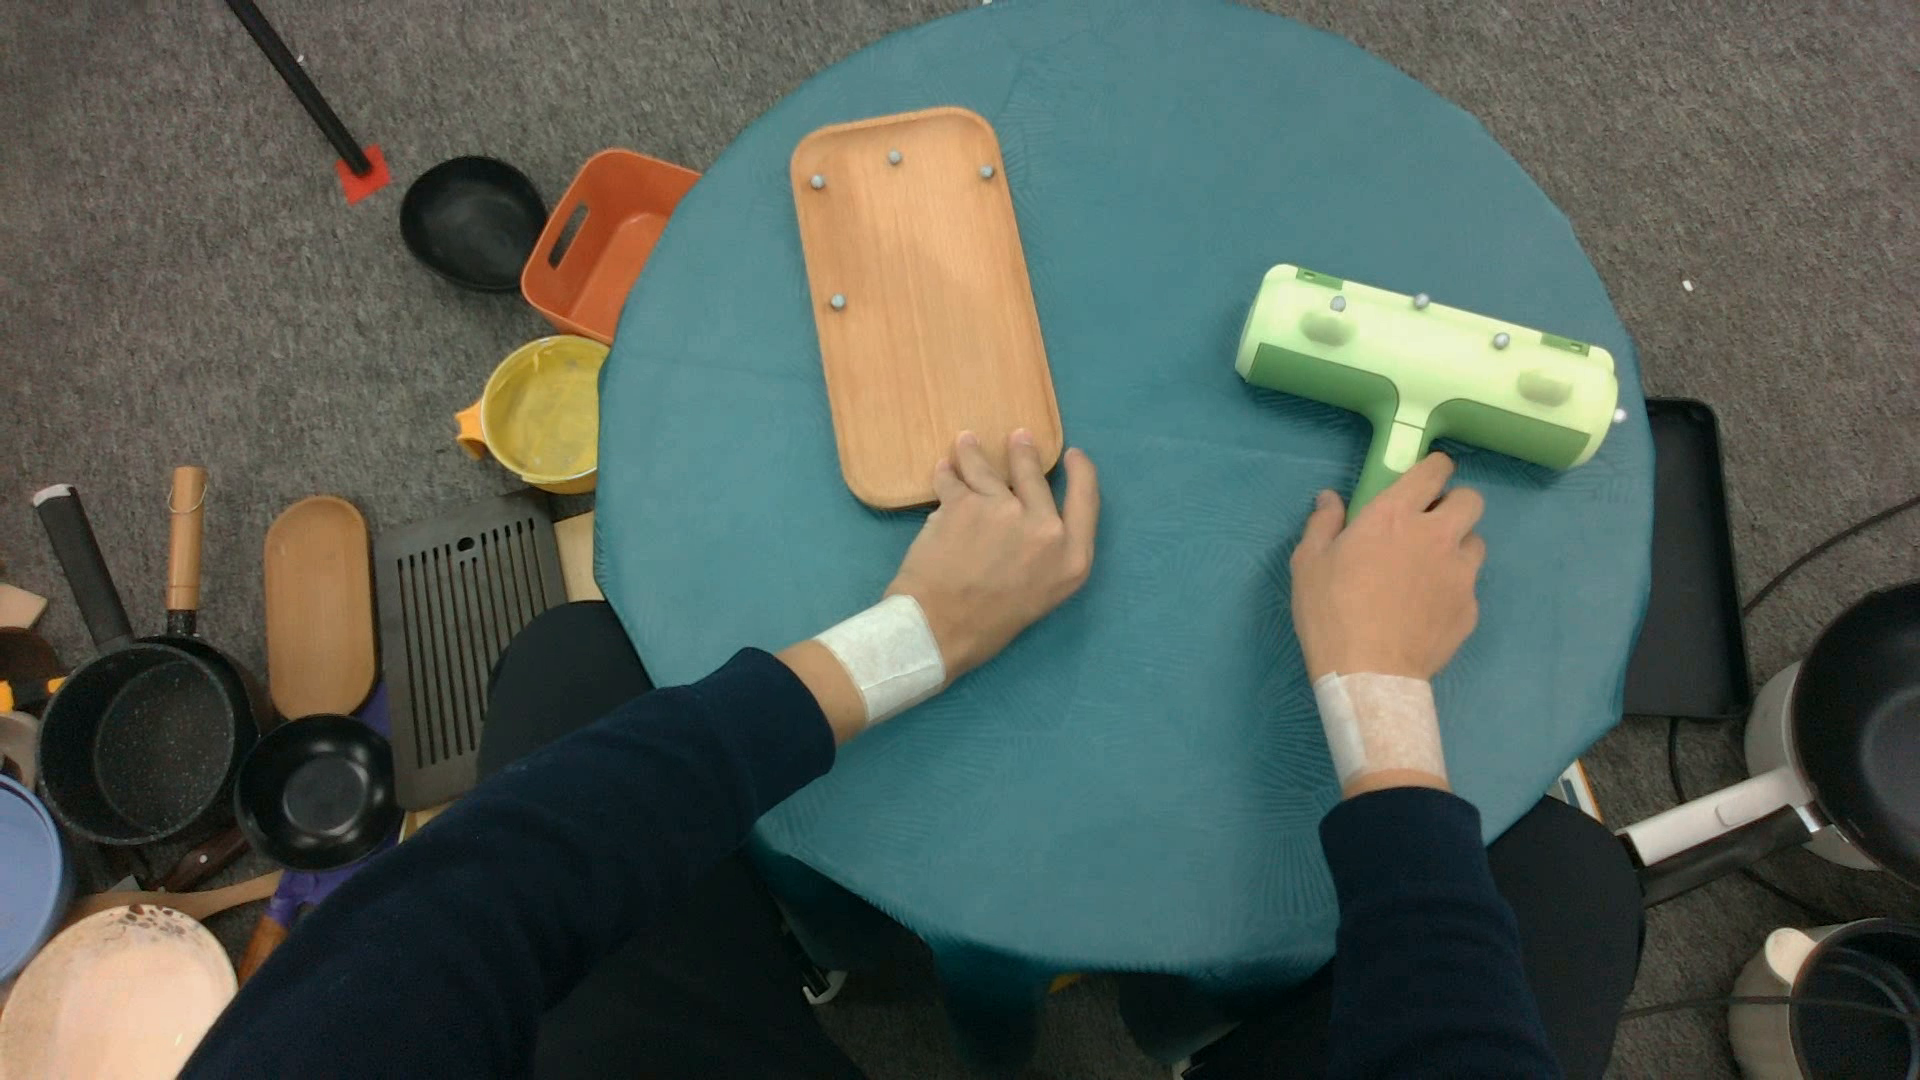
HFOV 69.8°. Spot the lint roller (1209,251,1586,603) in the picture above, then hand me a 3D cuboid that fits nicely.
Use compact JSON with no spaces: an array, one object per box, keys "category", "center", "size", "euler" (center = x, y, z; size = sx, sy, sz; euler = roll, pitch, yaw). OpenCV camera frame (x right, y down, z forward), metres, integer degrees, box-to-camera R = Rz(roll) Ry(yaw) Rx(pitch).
[{"category":"lint roller","center":[0.225,-0.060,0.735],"size":[0.198,0.082,0.184],"euler":[15,66,6]}]

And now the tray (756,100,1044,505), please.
[{"category":"tray","center":[-0.037,-0.142,0.801],"size":[0.130,0.023,0.251],"euler":[-12,72,-2]}]
